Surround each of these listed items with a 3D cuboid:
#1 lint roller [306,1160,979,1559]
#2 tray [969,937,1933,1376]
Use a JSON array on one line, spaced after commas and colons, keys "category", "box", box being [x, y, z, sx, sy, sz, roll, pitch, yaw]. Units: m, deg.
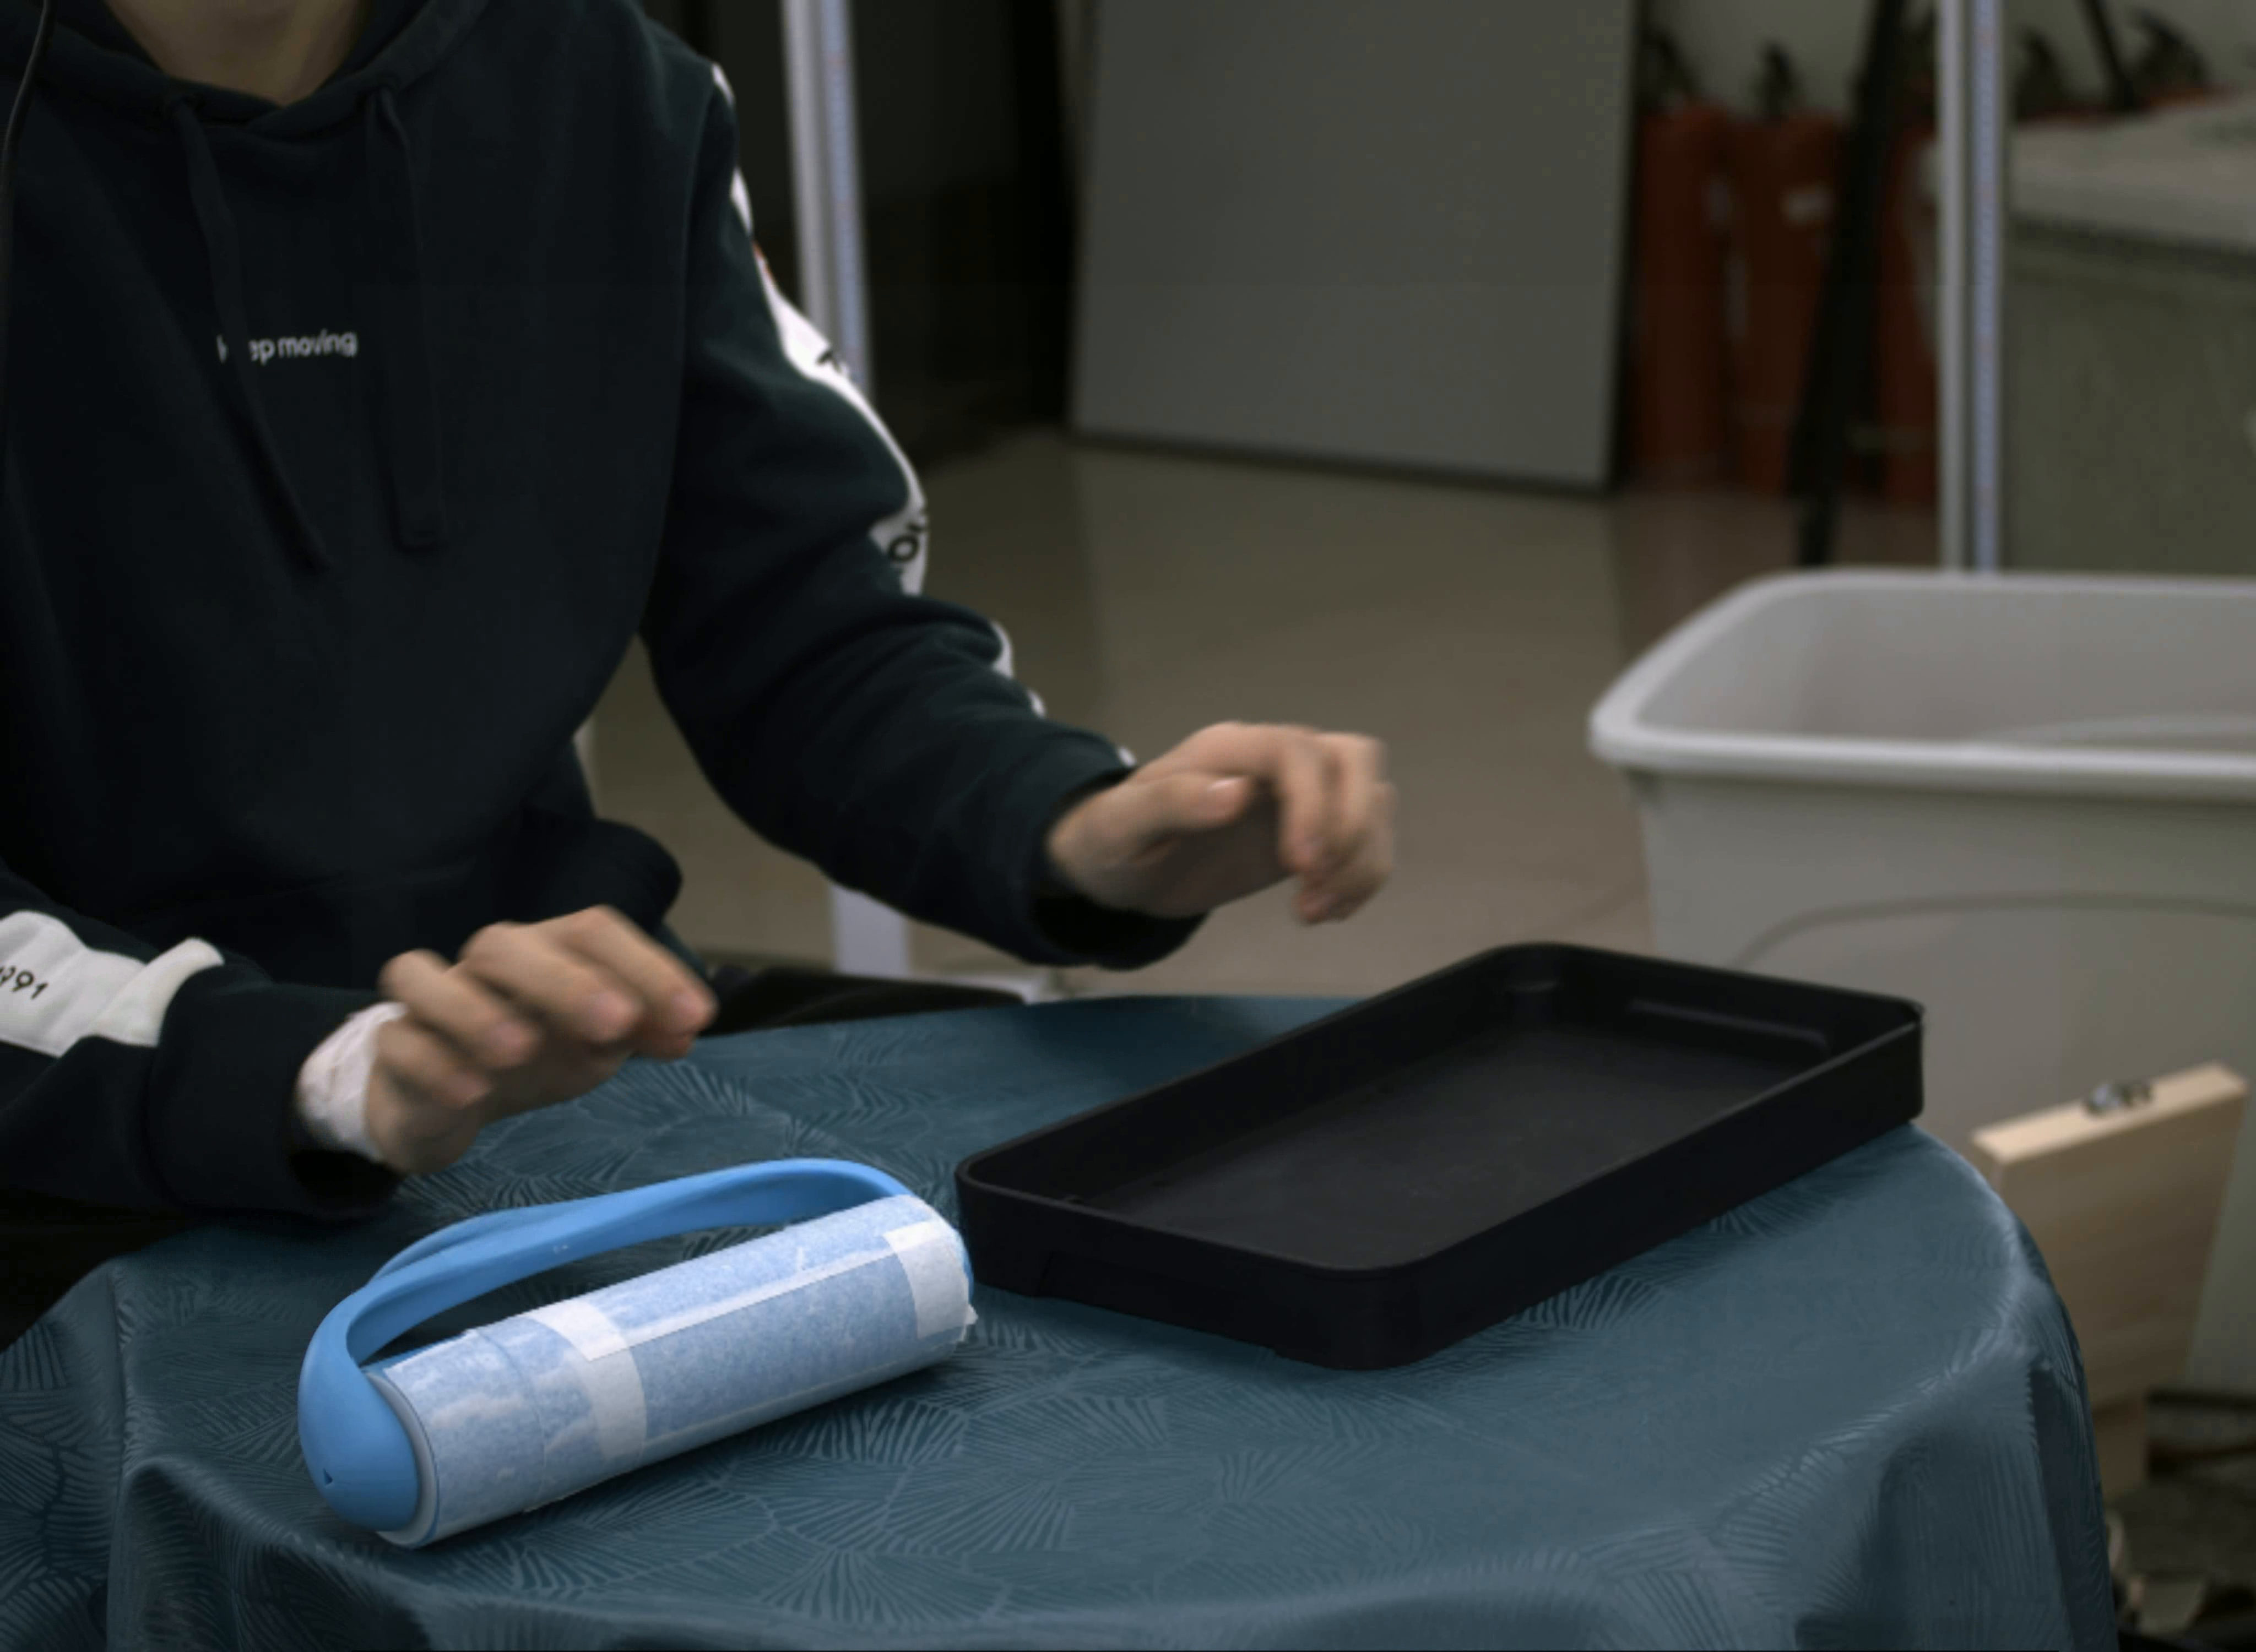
[{"category": "lint roller", "box": [-0.175, 0.147, 1.601, 0.224, 0.068, 0.182, -19, 21, -40]}, {"category": "tray", "box": [0.111, 0.101, 1.749, 0.186, 0.037, 0.312, 7, 19, 40]}]
